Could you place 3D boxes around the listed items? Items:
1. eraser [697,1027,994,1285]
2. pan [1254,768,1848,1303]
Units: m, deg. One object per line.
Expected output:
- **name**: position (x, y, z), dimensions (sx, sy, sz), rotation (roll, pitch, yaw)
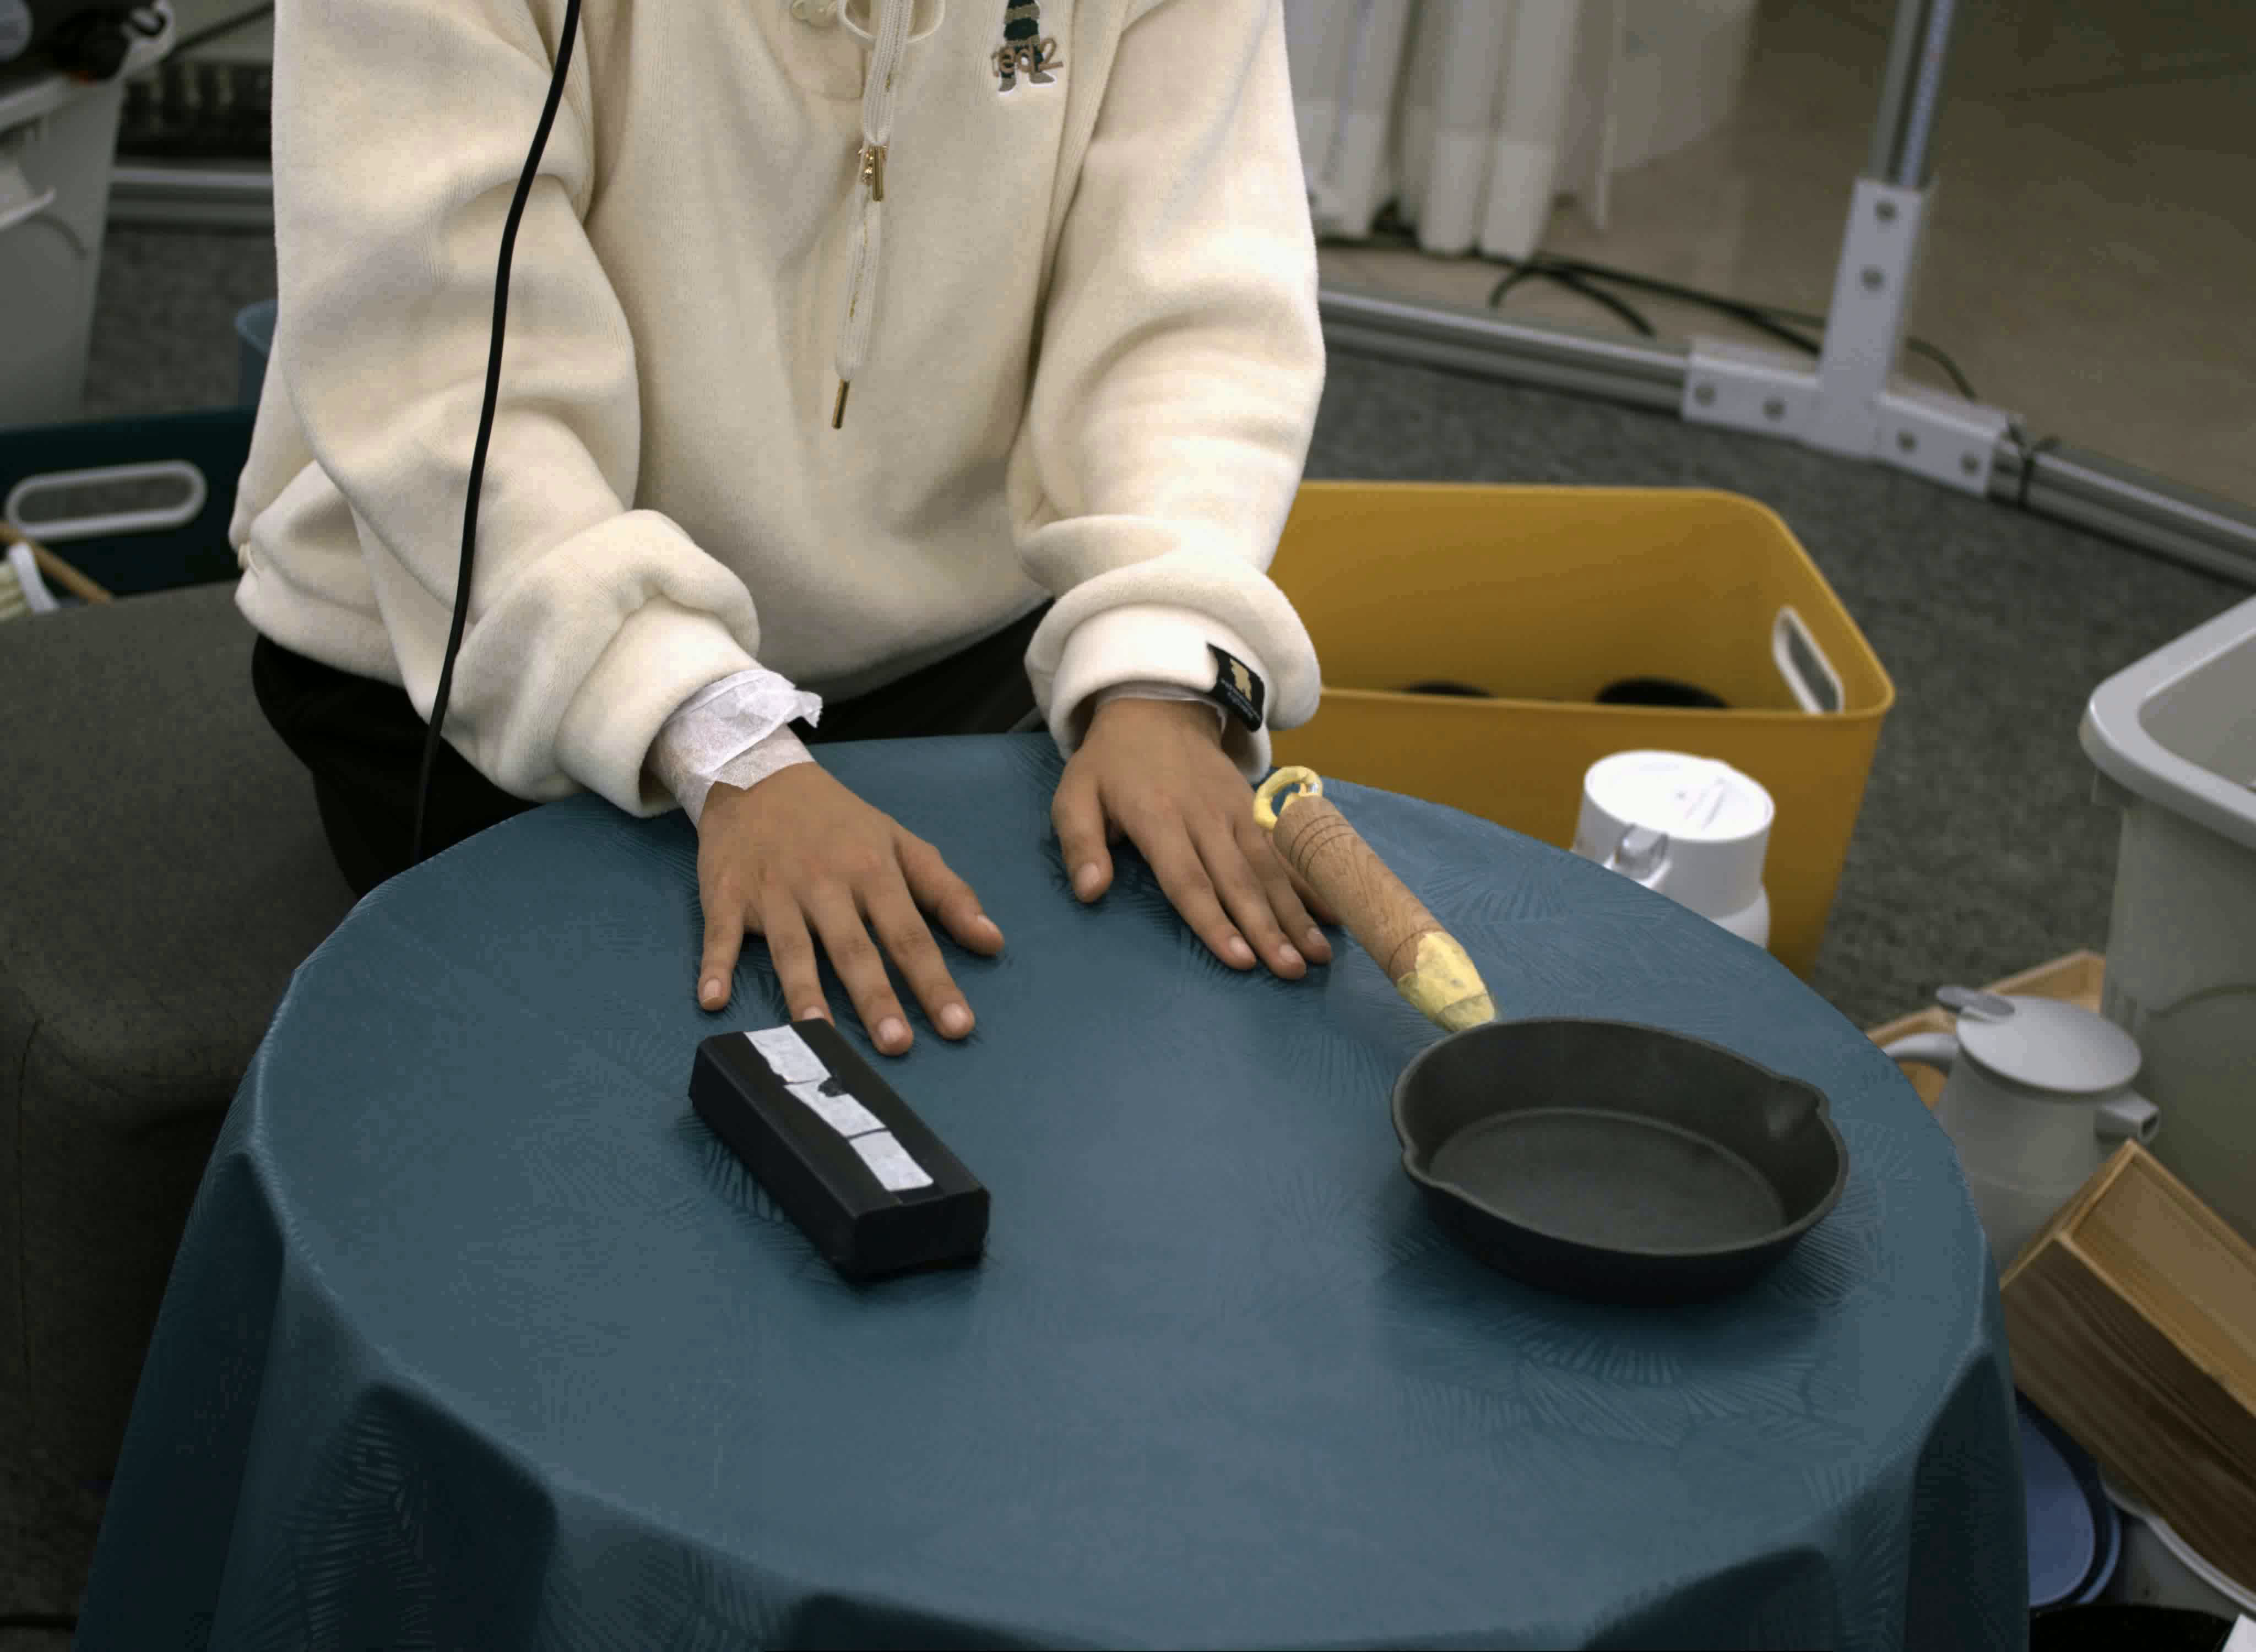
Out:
- **eraser**: position (-0.095, 0.109, 1.779), dimensions (0.053, 0.030, 0.126), rotation (-8, 29, -28)
- **pan**: position (0.128, 0.071, 1.877), dimensions (0.168, 0.049, 0.327), rotation (-9, 31, -25)
